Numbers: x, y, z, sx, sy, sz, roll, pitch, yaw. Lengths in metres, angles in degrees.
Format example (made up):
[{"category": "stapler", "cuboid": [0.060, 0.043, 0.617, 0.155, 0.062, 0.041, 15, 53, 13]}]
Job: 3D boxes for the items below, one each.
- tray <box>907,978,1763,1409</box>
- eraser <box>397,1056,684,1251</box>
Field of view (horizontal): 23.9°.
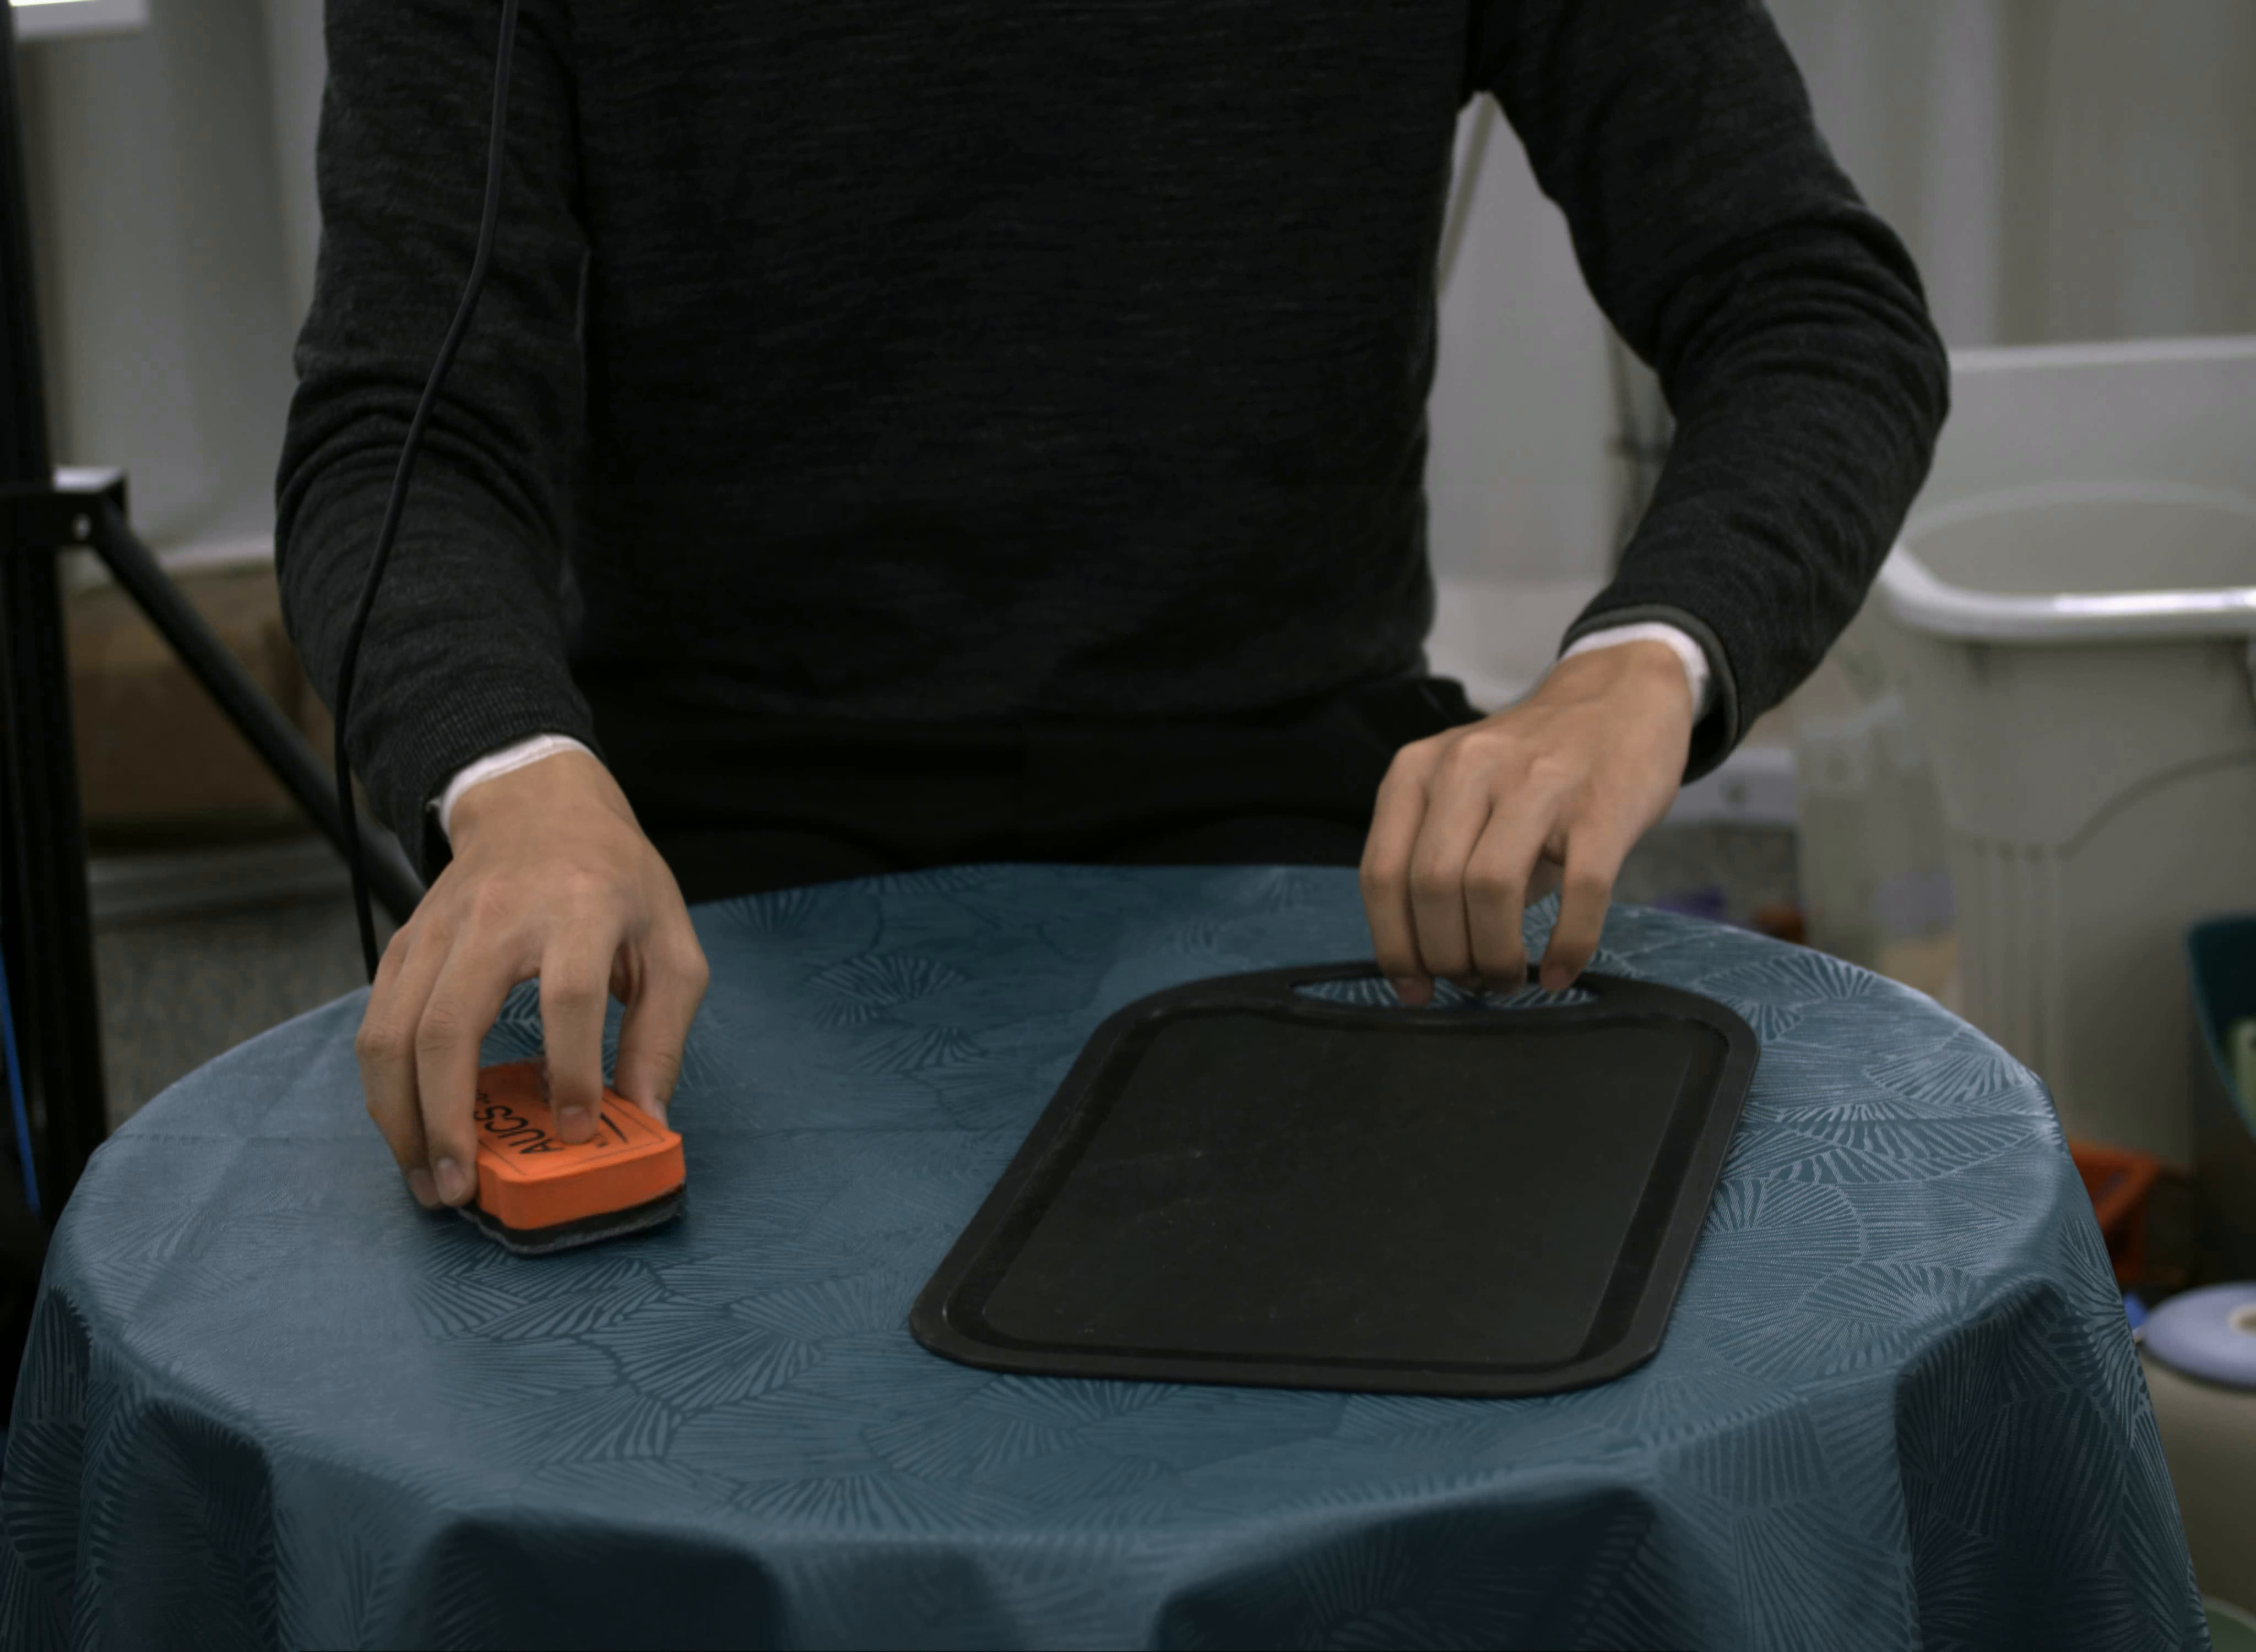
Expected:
[{"category": "tray", "cuboid": [0.068, 0.098, 1.551, 0.213, 0.010, 0.323, 2, 18, 15]}, {"category": "eraser", "cuboid": [-0.174, 0.096, 1.577, 0.058, 0.023, 0.110, -9, 17, -24]}]
